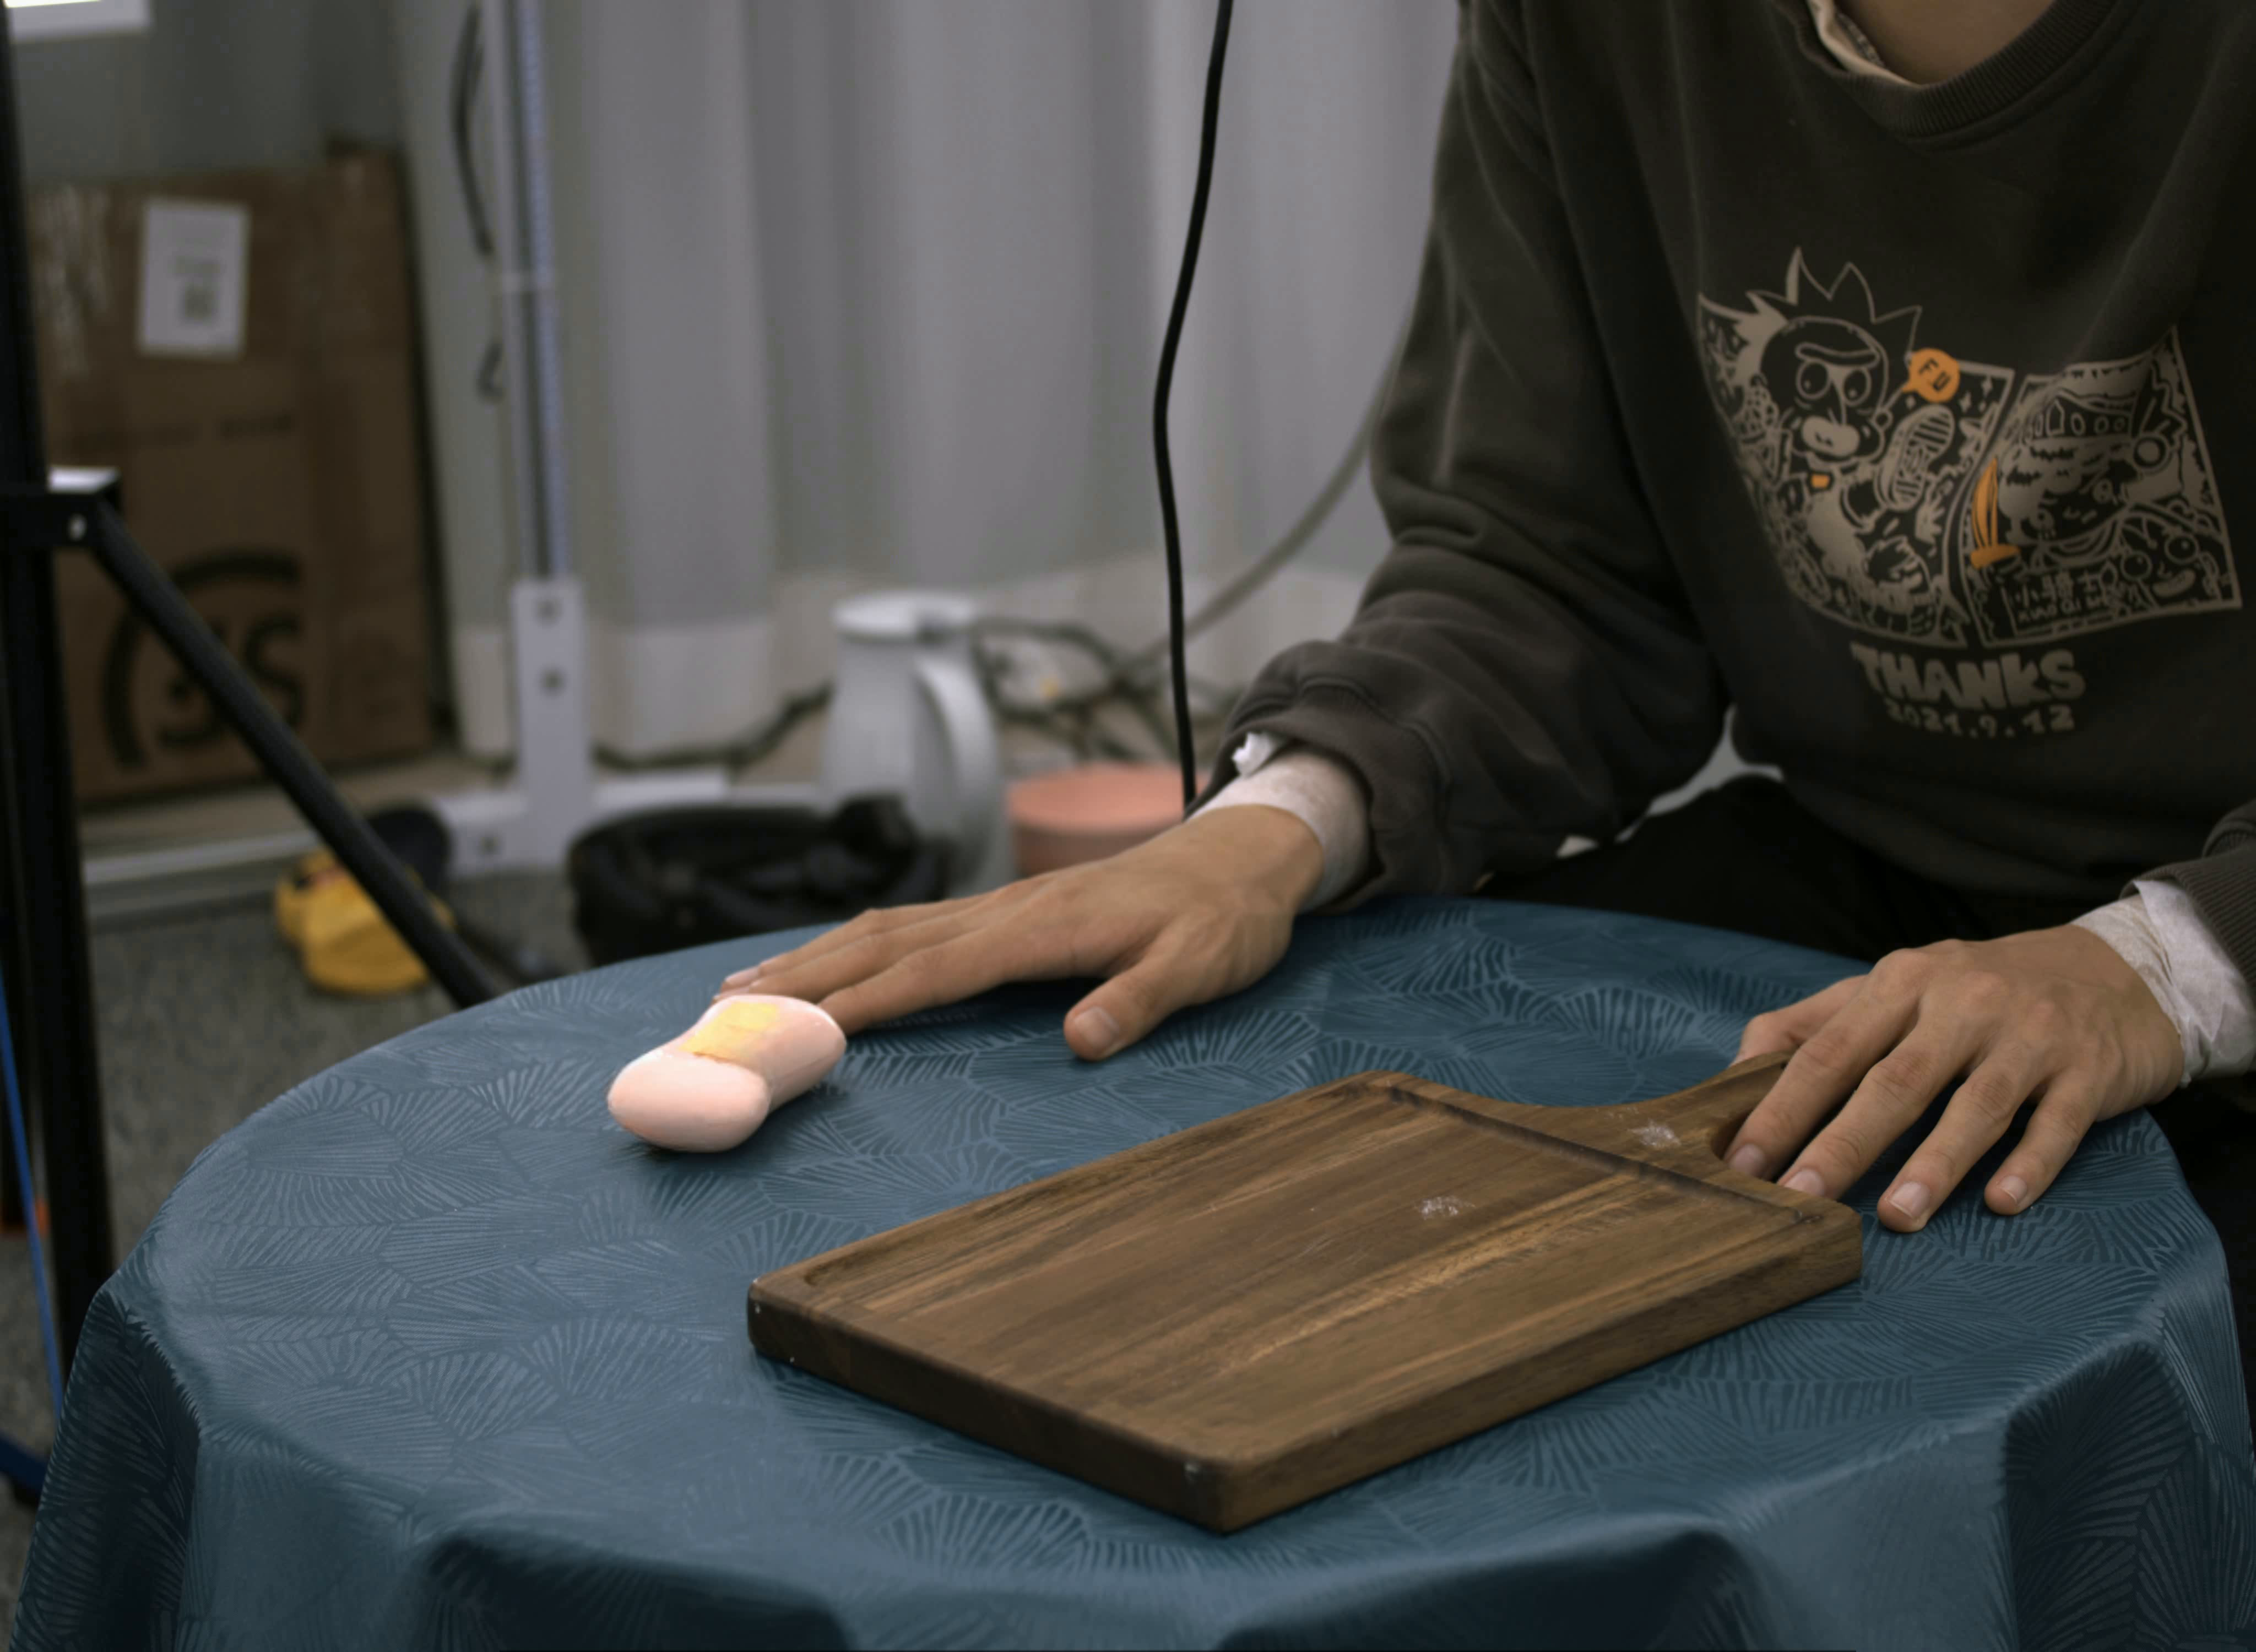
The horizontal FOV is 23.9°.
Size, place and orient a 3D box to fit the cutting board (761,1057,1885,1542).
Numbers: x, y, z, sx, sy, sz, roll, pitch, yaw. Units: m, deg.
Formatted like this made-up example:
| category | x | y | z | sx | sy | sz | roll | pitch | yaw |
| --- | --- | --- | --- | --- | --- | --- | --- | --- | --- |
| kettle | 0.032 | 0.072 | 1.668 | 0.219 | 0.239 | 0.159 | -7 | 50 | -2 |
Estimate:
| category | x | y | z | sx | sy | sz | roll | pitch | yaw |
| --- | --- | --- | --- | --- | --- | --- | --- | --- | --- |
| cutting board | 0.091 | 0.117 | 1.477 | 0.344 | 0.023 | 0.206 | -15 | 20 | -38 |

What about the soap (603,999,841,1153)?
| category | x | y | z | sx | sy | sz | roll | pitch | yaw |
| --- | --- | --- | --- | --- | --- | --- | --- | --- | --- |
| soap | -0.124 | 0.077 | 1.644 | 0.051 | 0.030 | 0.093 | 4 | 15 | 21 |
